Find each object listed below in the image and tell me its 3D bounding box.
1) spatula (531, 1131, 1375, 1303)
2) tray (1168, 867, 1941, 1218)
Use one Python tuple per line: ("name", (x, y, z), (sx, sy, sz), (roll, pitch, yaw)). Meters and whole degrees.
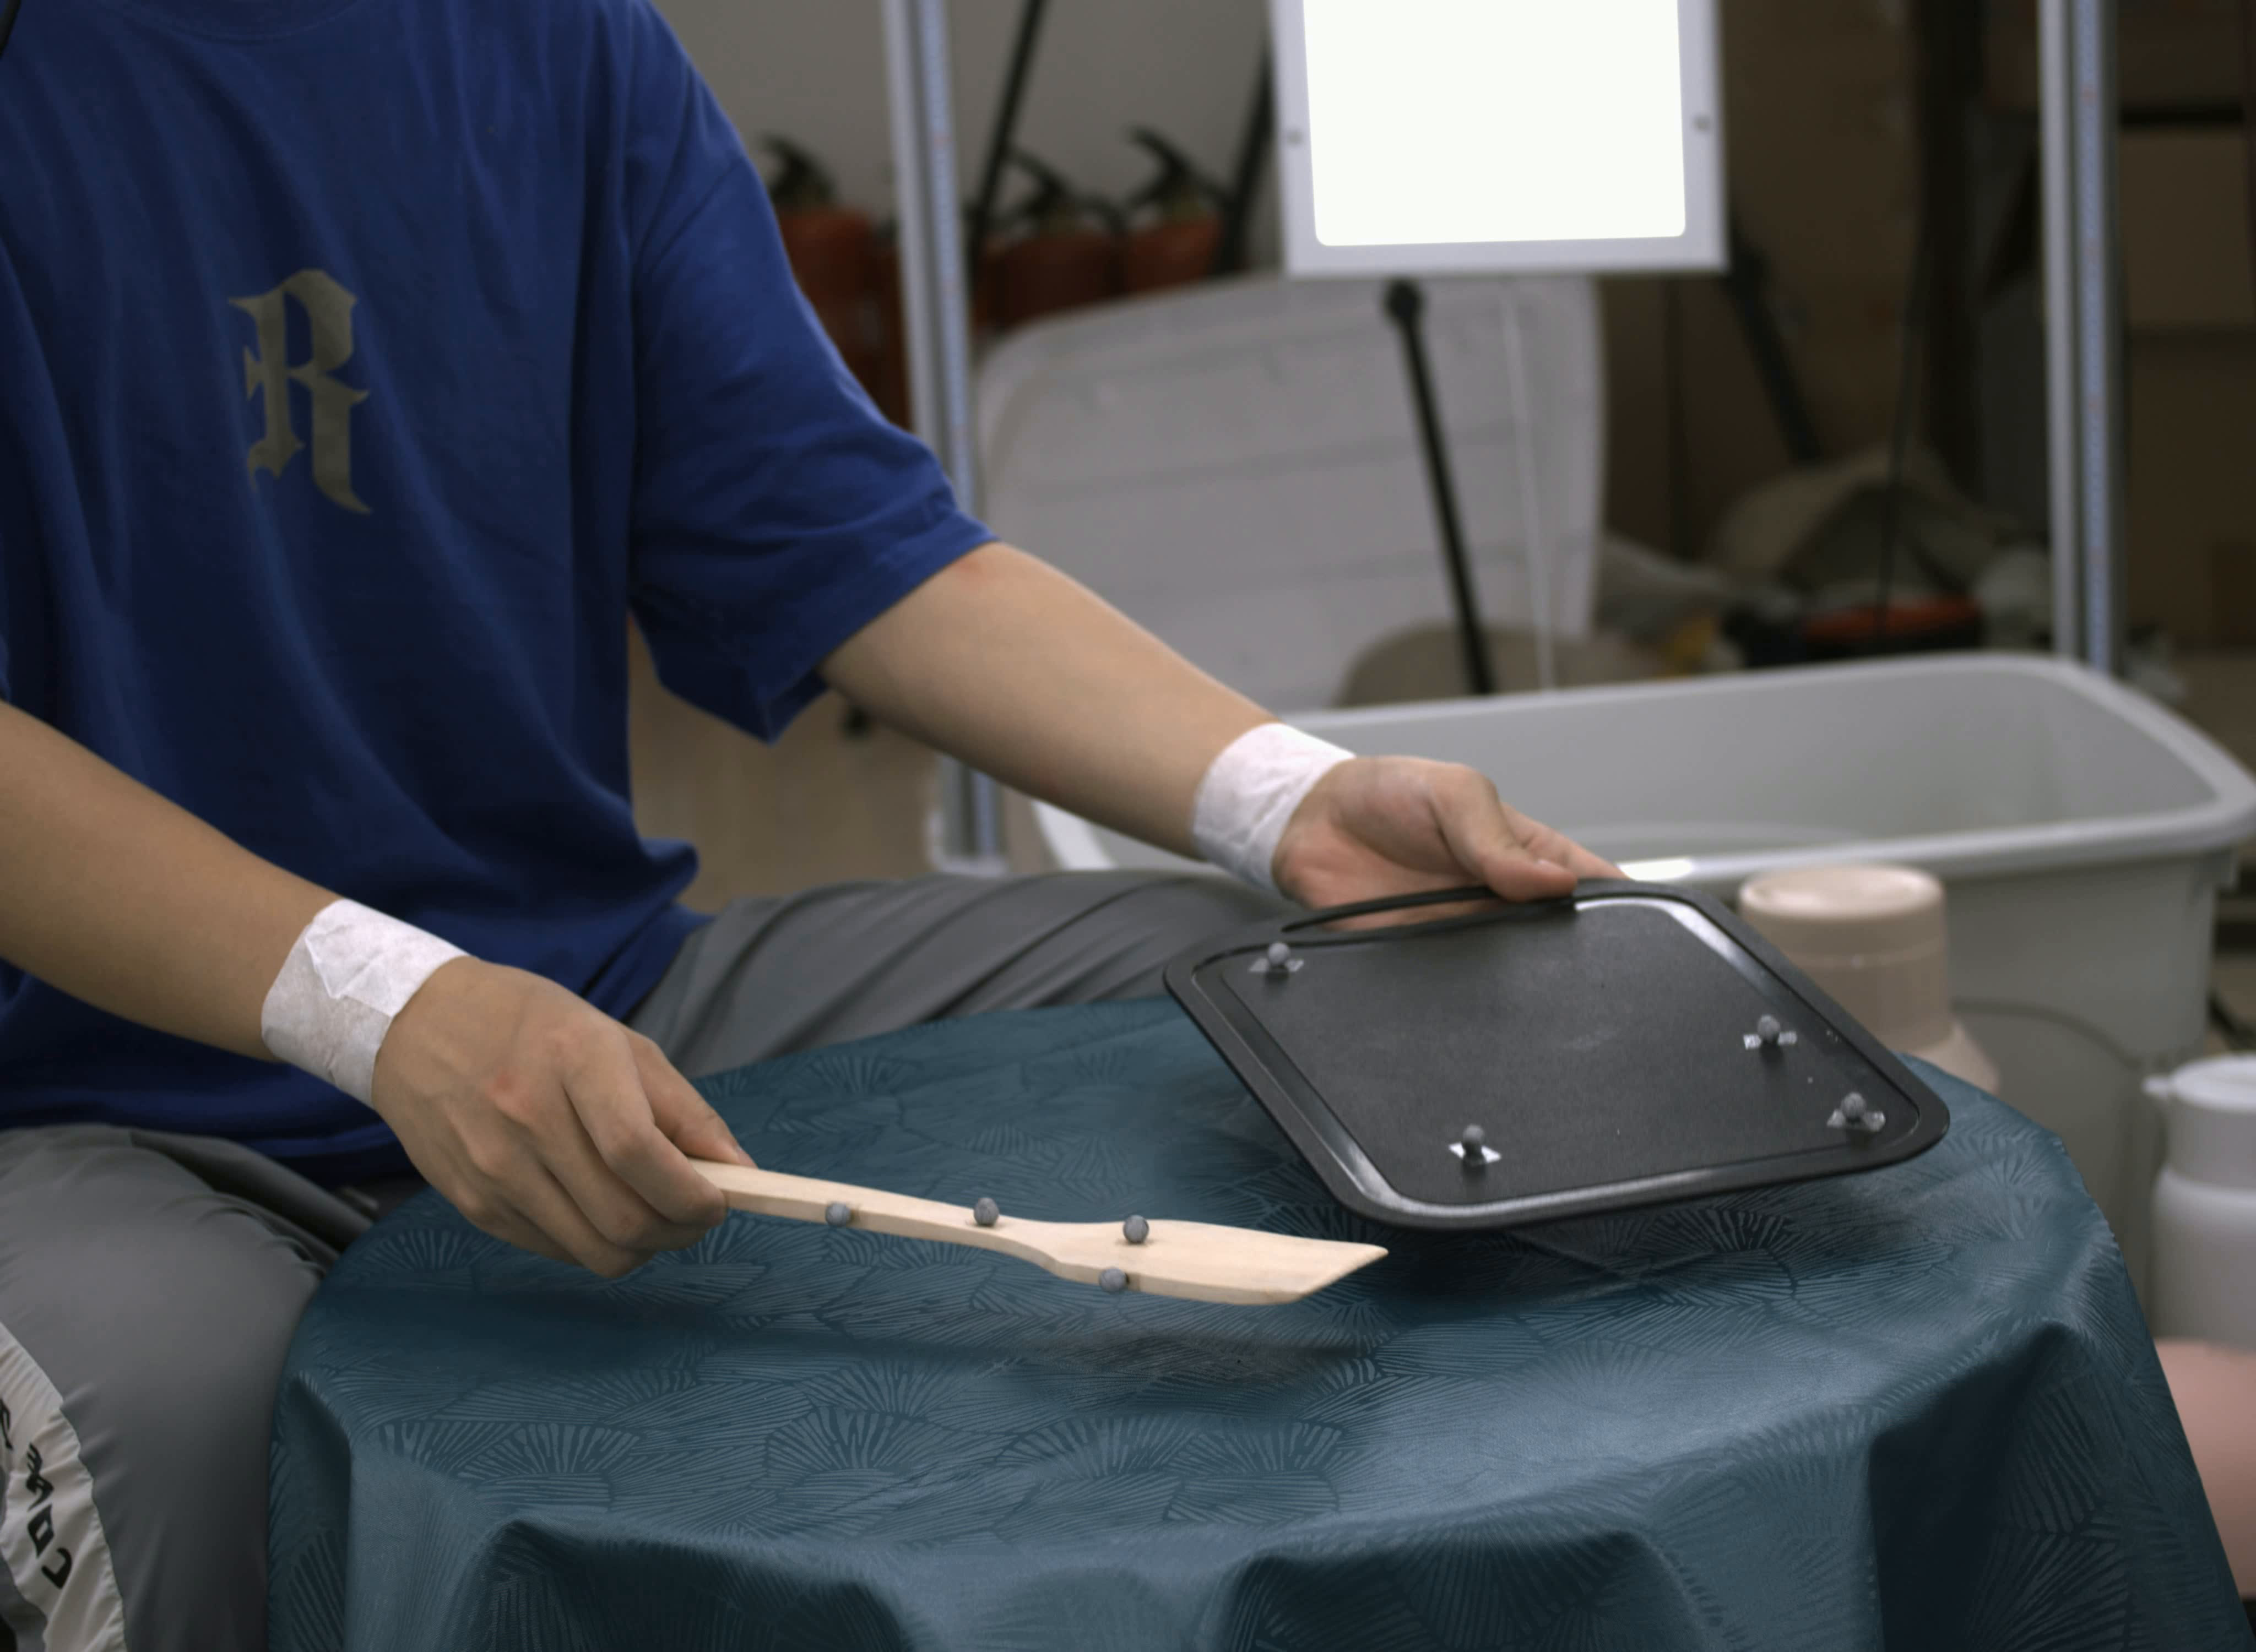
("spatula", (-0.065, 0.123, 1.761), (0.298, 0.011, 0.070), (7, 12, 28))
("tray", (0.138, 0.067, 1.892), (0.209, 0.010, 0.327), (-9, 19, -10))
